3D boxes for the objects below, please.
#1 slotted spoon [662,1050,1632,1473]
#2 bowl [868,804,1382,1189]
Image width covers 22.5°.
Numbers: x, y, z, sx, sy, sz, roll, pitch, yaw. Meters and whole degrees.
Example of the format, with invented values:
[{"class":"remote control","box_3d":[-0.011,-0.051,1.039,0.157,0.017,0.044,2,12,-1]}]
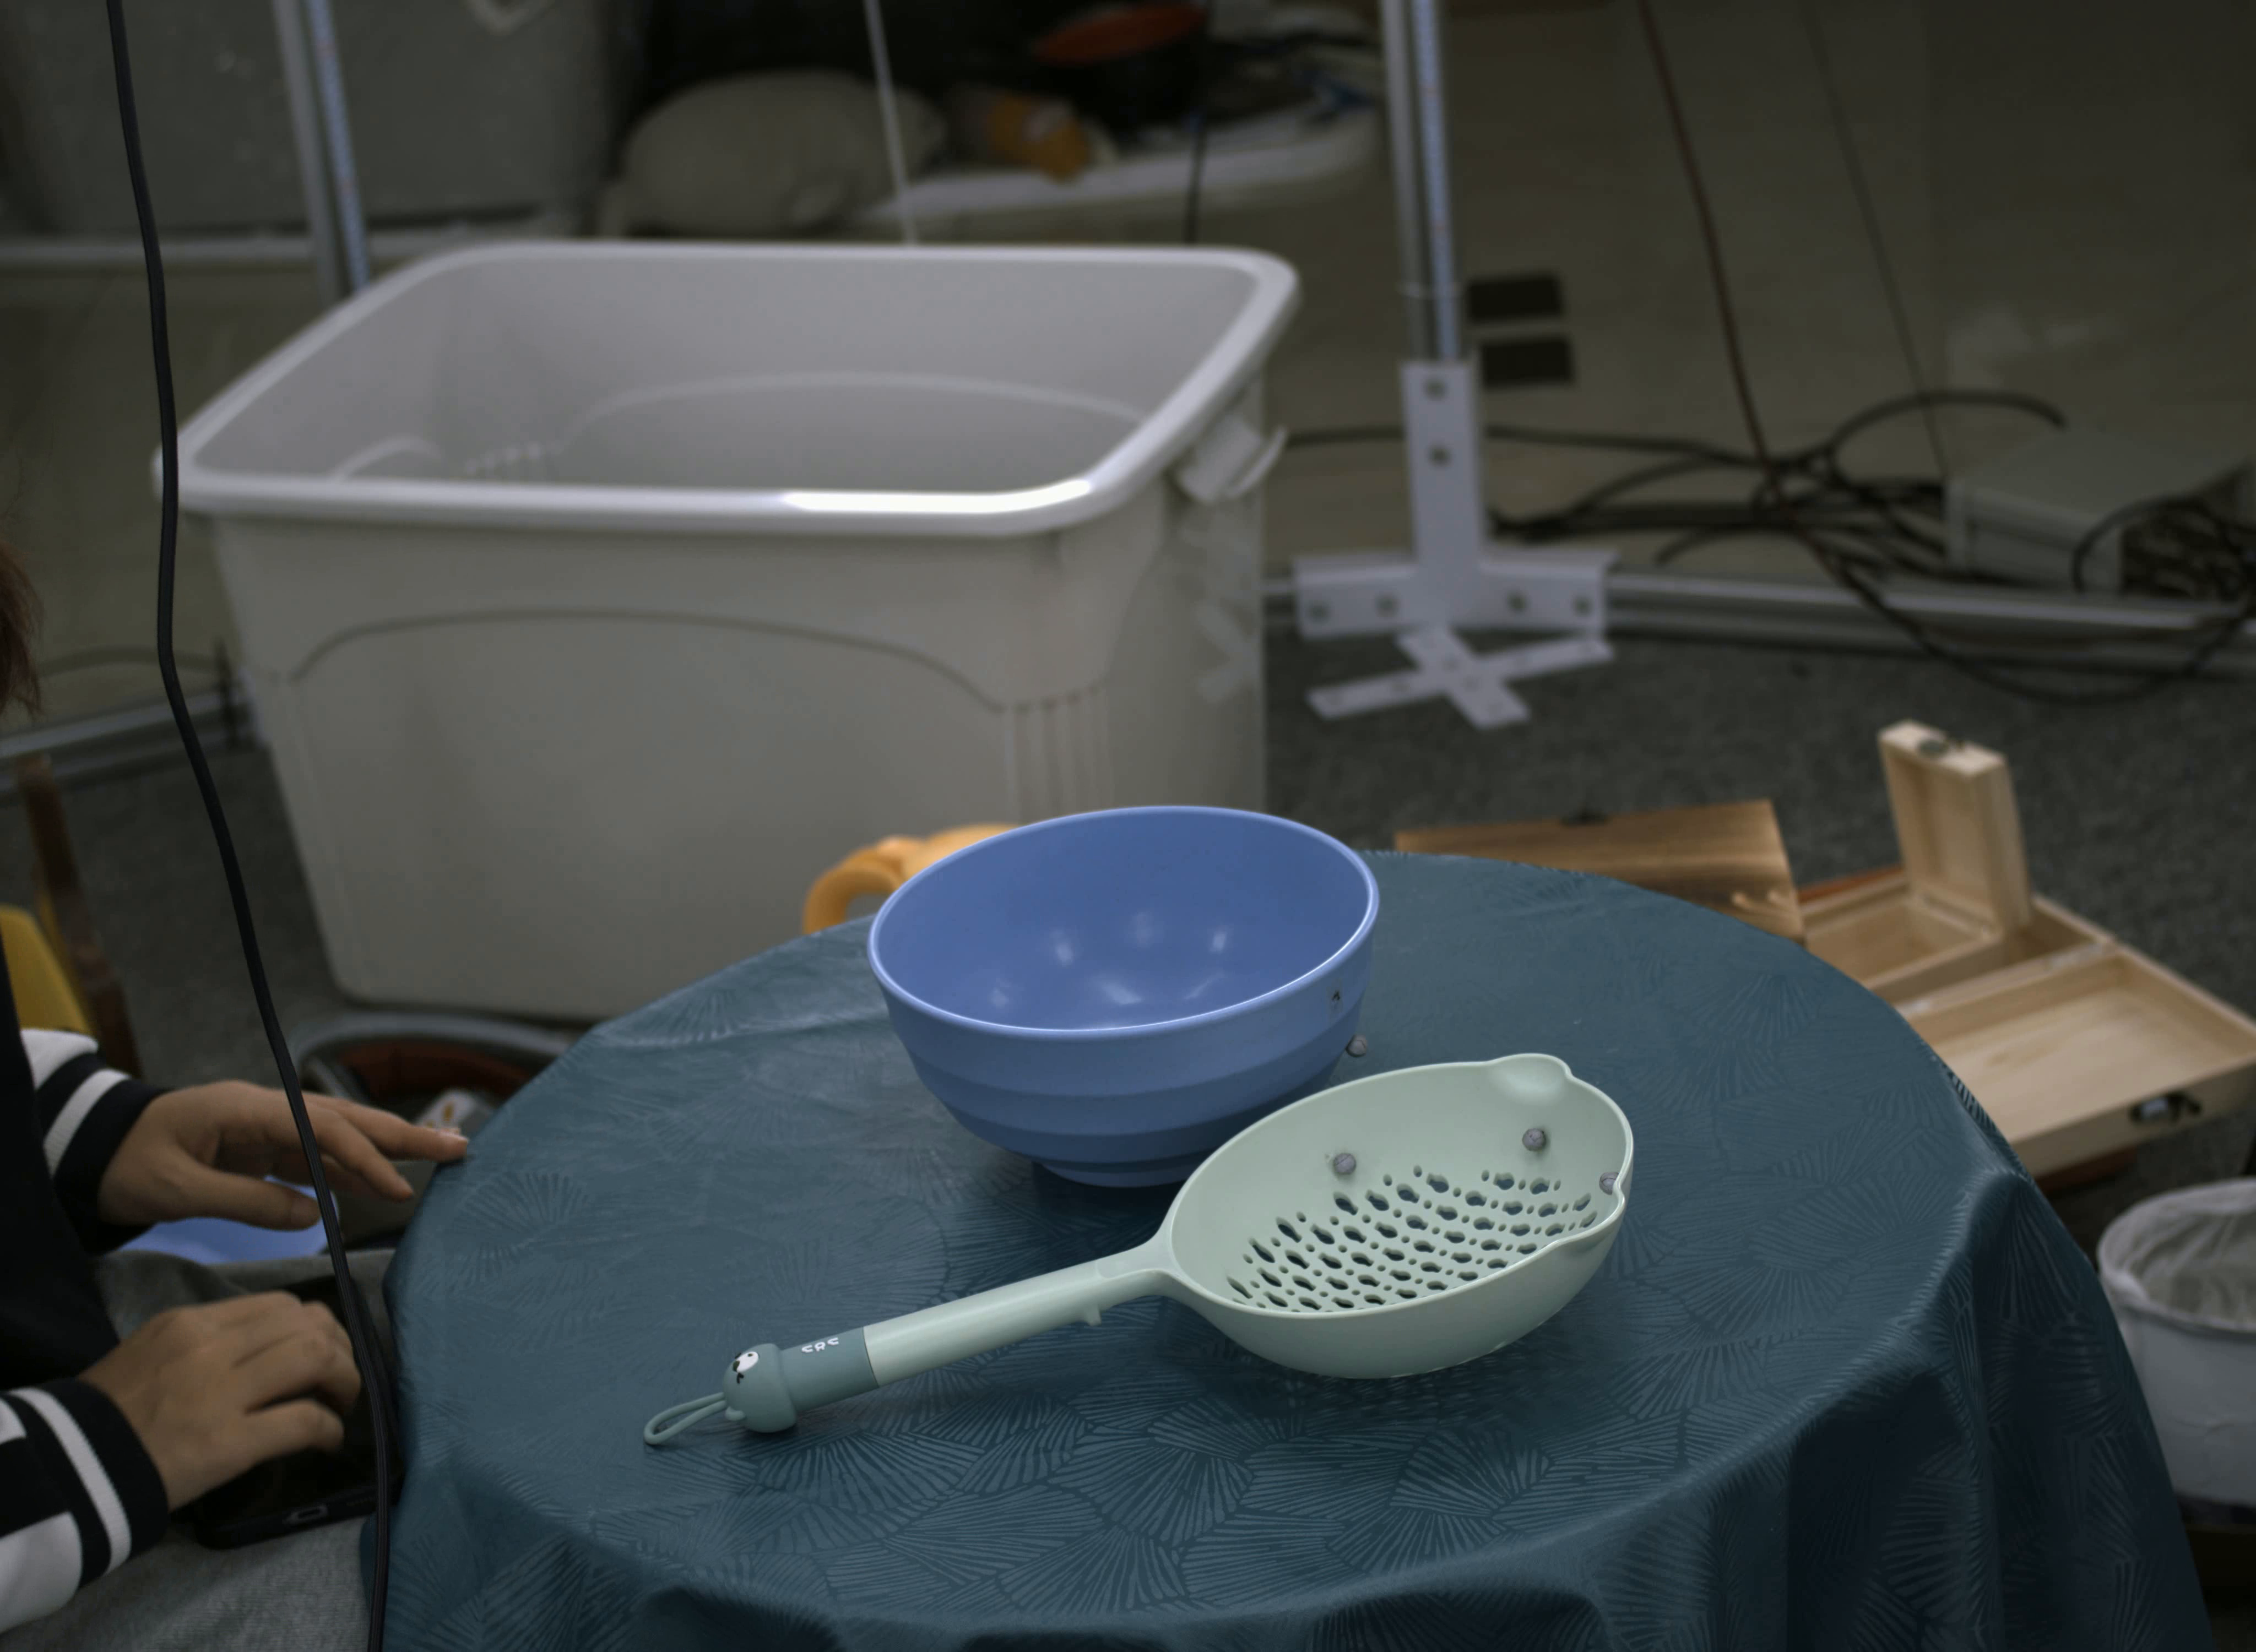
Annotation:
[{"class":"slotted spoon","box_3d":[0.005,0.167,2.018,0.358,0.076,0.167,-10,24,-2]},{"class":"bowl","box_3d":[0.003,0.076,2.169,0.196,0.097,0.193,-5,26,3]}]
